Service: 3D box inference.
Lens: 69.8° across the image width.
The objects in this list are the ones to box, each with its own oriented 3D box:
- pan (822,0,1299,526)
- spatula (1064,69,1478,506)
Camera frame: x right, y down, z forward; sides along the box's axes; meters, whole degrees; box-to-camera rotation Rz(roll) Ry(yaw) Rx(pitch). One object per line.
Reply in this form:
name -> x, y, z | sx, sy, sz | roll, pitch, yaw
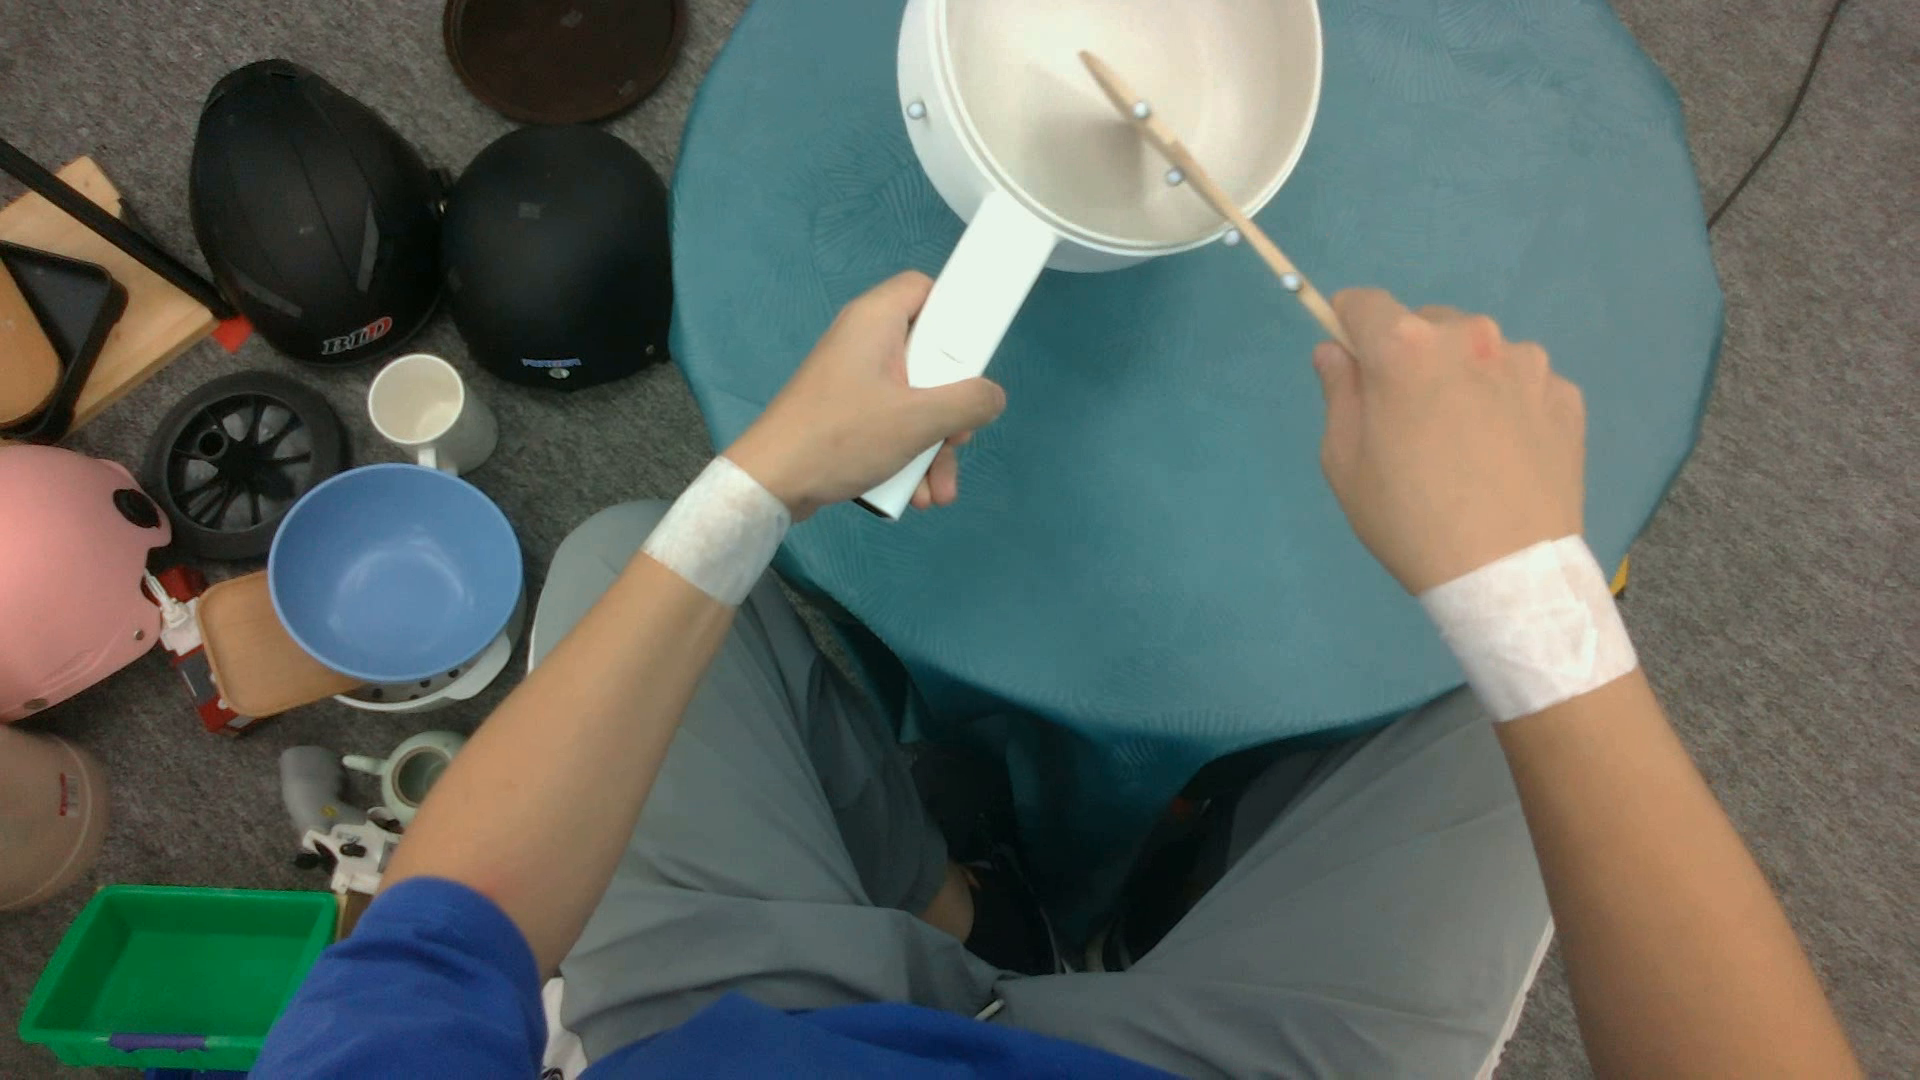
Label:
pan -> 0.027, -0.169, 0.697 | 0.201, 0.102, 0.355 | 30, 81, -17
spatula -> 0.134, -0.120, 0.614 | 0.010, 0.072, 0.293 | -42, 56, 14
